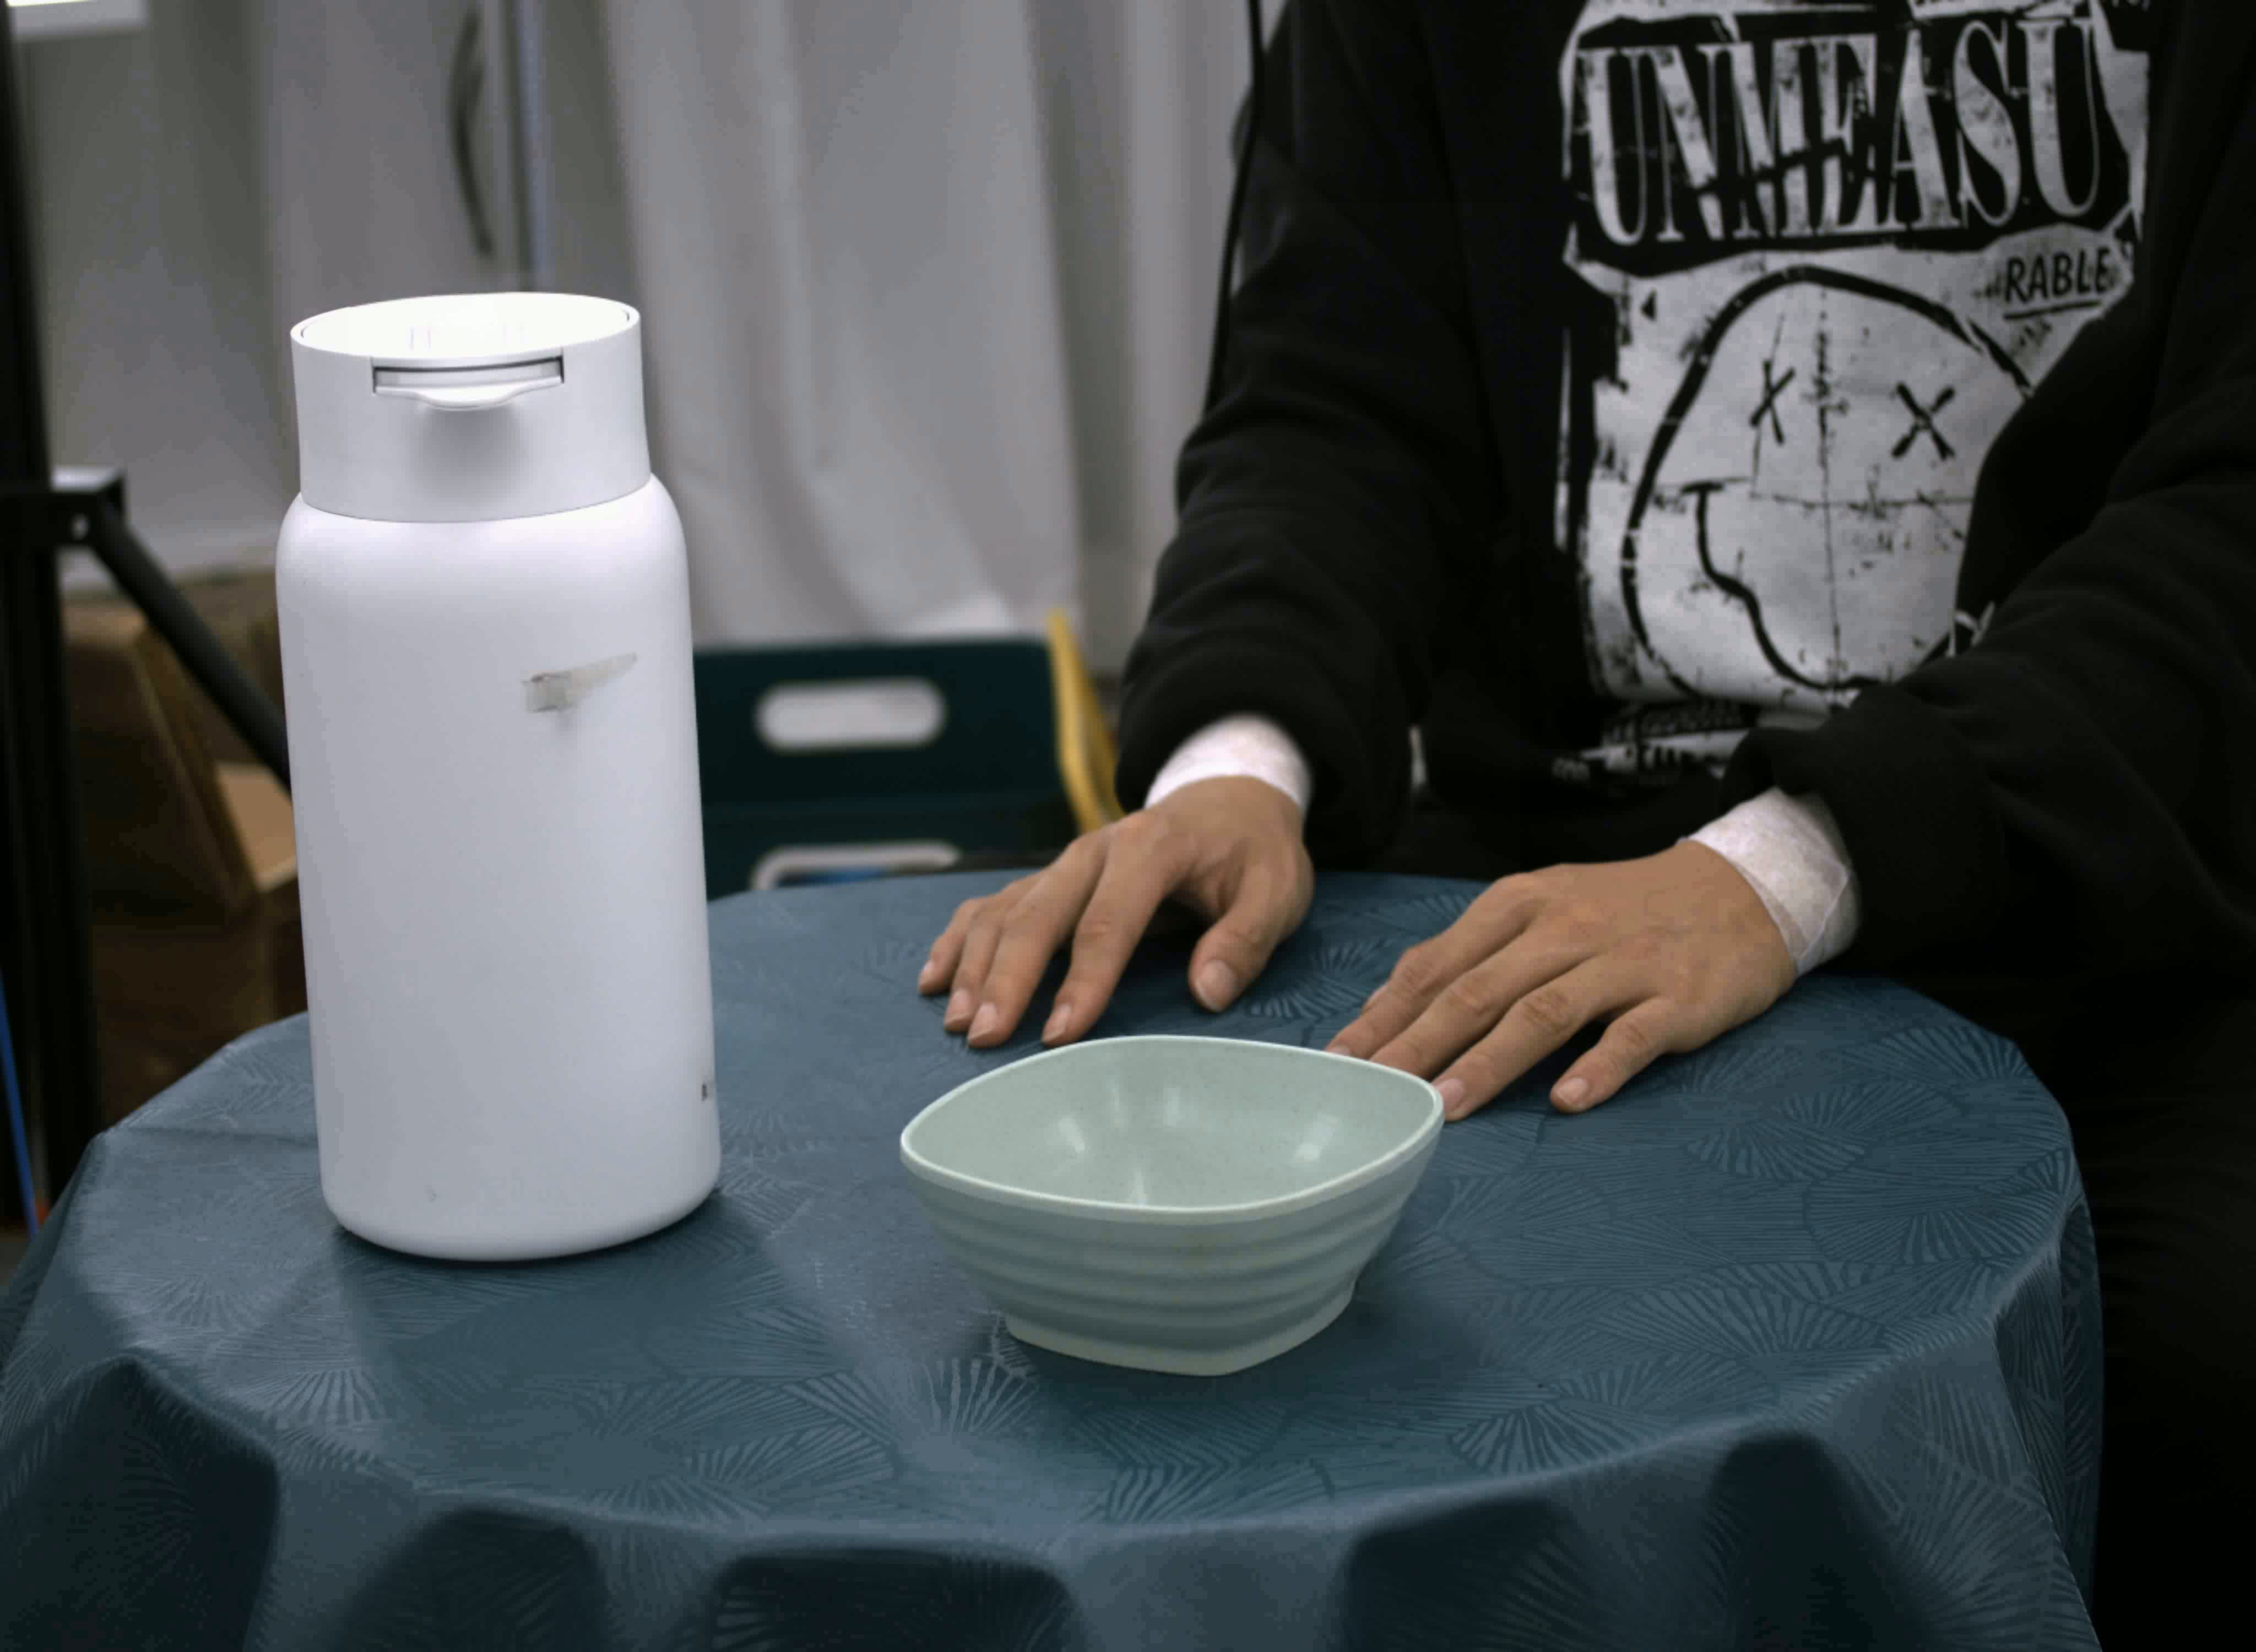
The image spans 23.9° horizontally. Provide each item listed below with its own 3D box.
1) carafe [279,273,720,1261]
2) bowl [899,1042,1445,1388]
[{"bbox_3d":[-0.185,-0.021,1.554,0.123,0.269,0.174,-6,15,-6],"label":"carafe"},{"bbox_3d":[0.013,0.109,1.451,0.150,0.058,0.152,-2,16,-1],"label":"bowl"}]
